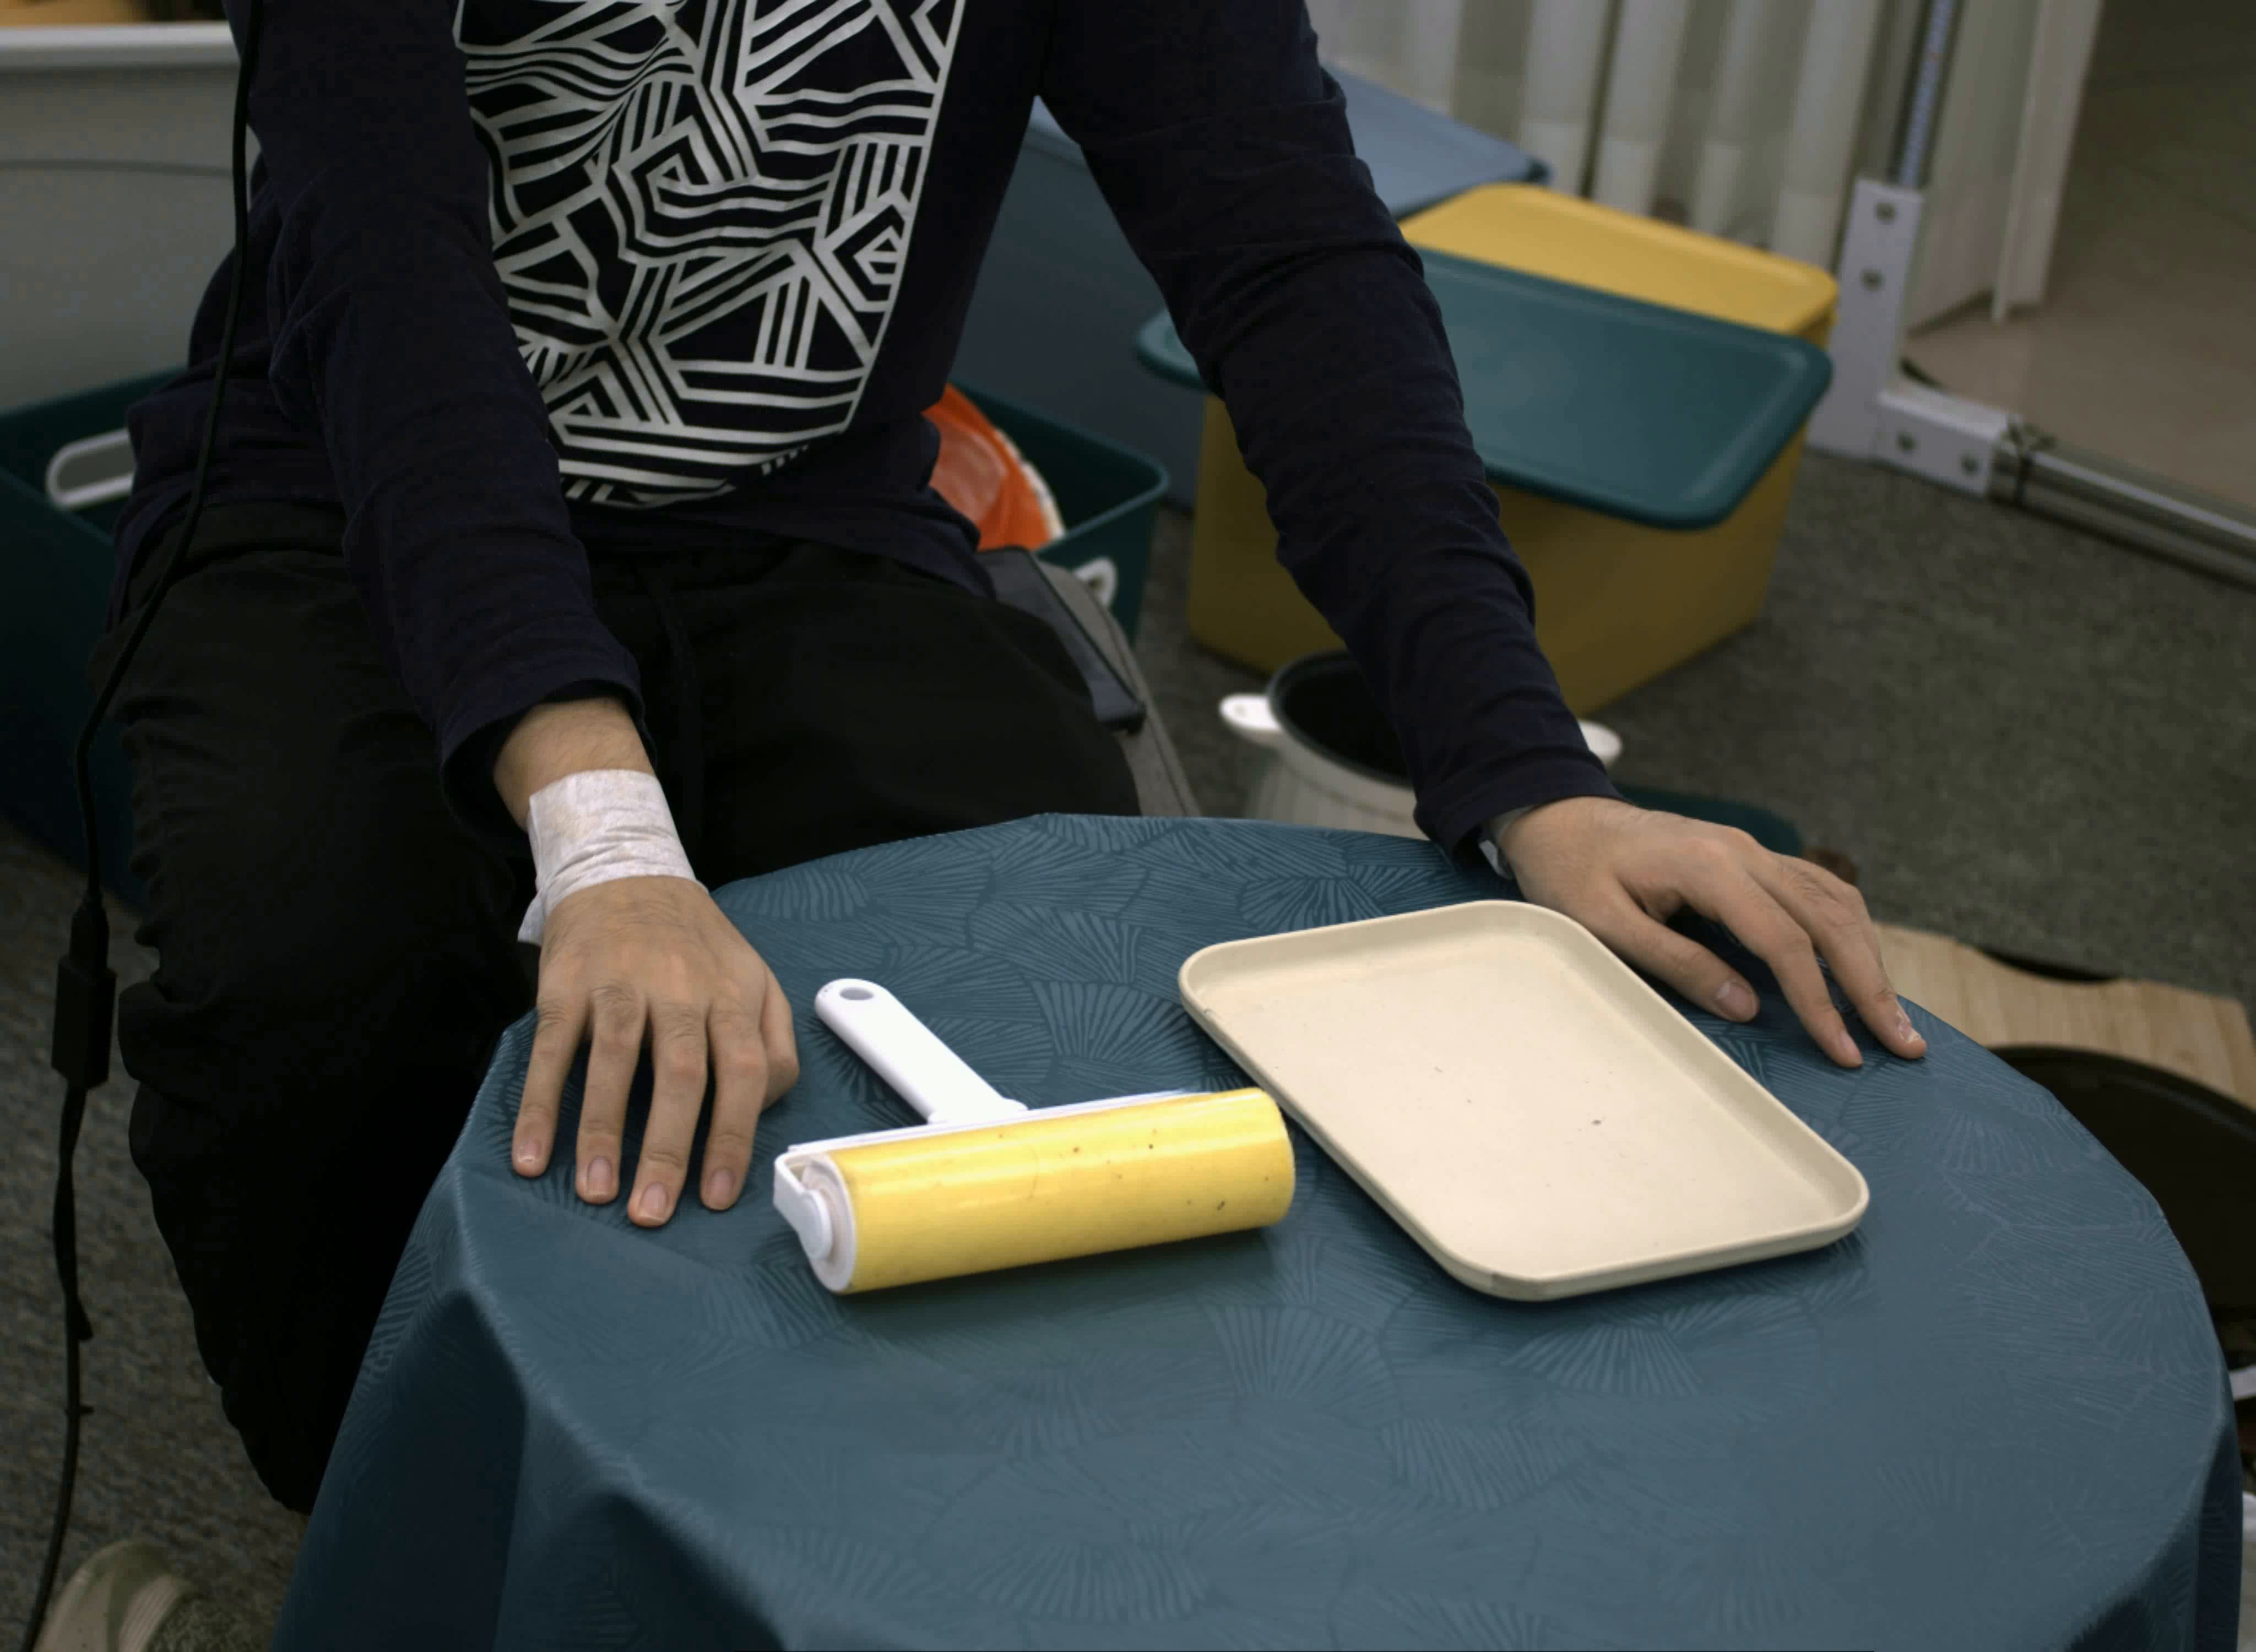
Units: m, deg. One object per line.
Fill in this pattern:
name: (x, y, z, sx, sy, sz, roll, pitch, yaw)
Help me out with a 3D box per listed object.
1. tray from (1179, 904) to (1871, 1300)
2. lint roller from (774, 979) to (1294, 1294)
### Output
tray: (0.136, 0.095, 1.872, 0.170, 0.017, 0.242, -7, 30, -27)
lint roller: (-0.059, 0.088, 1.810, 0.173, 0.051, 0.194, -7, 33, -27)
